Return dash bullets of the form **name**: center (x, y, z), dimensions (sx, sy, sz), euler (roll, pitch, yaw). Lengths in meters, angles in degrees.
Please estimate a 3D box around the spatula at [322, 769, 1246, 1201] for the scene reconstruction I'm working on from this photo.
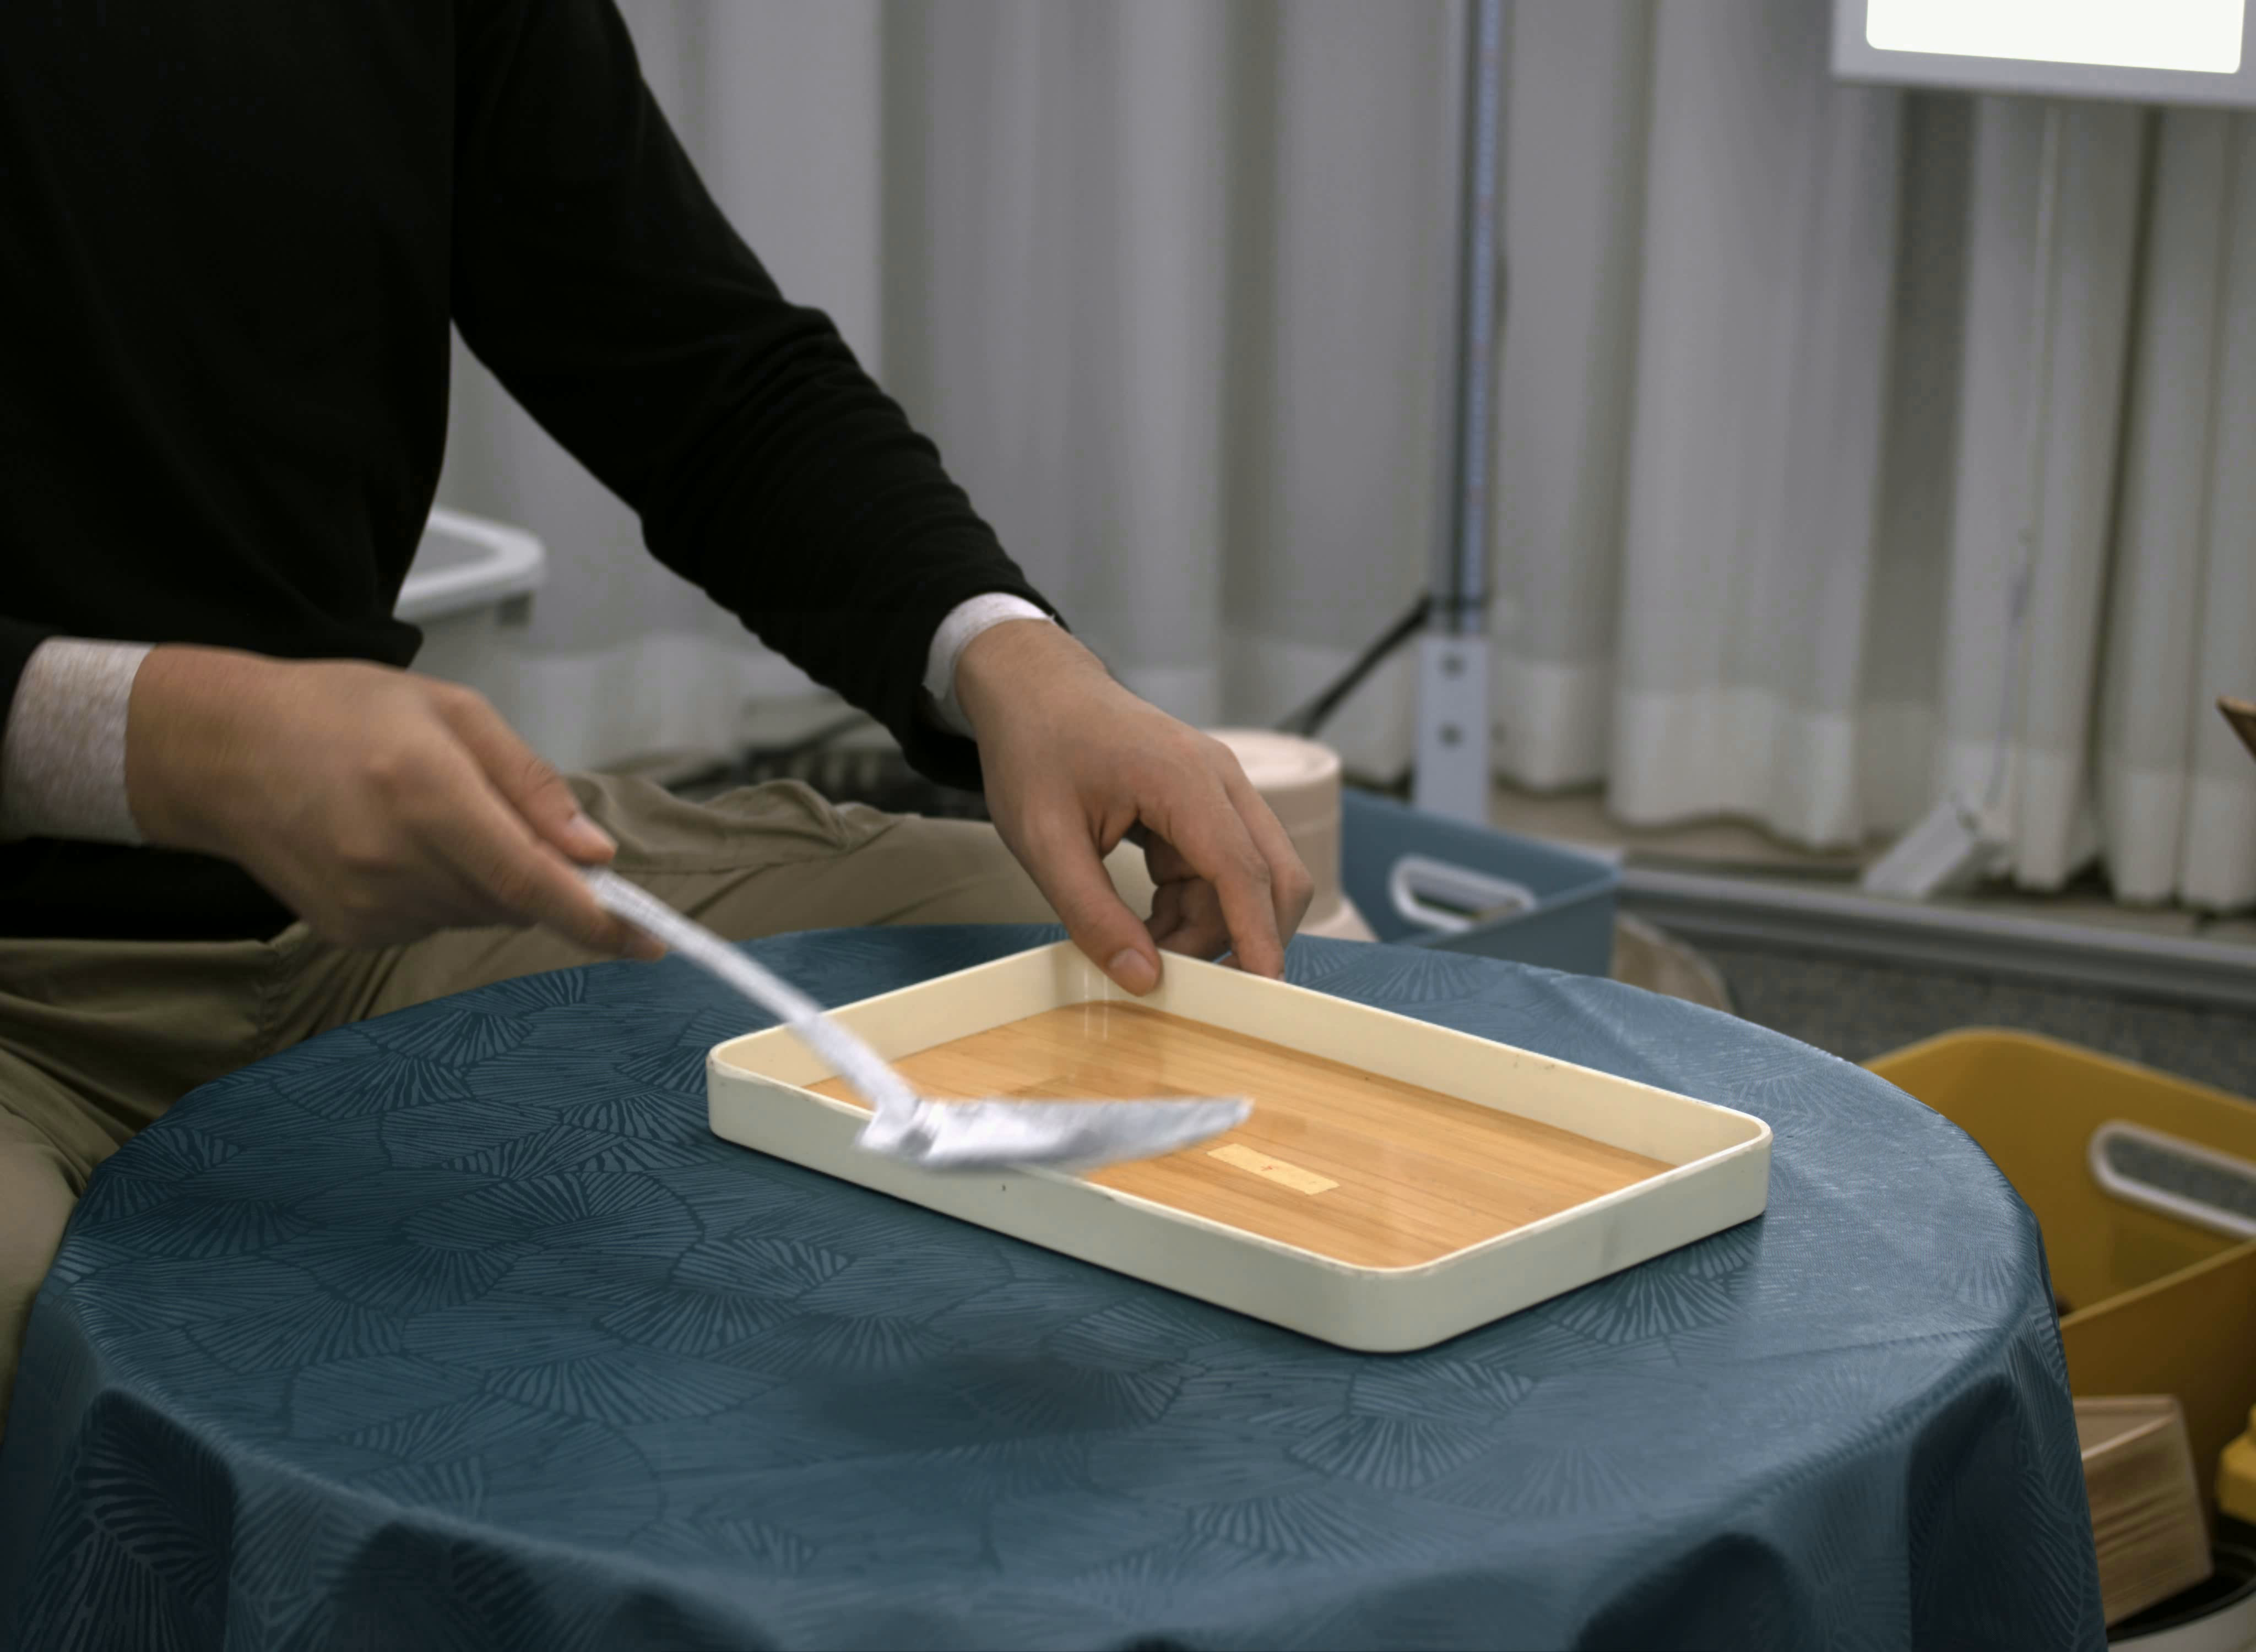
- **spatula**: center (-0.122, 0.038, 1.523), dimensions (0.360, 0.045, 0.099), euler (29, 29, 35)

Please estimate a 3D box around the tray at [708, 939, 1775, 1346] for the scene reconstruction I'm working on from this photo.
- **tray**: center (0.032, 0.094, 1.638), dimensions (0.296, 0.027, 0.192), euler (15, 21, 42)
